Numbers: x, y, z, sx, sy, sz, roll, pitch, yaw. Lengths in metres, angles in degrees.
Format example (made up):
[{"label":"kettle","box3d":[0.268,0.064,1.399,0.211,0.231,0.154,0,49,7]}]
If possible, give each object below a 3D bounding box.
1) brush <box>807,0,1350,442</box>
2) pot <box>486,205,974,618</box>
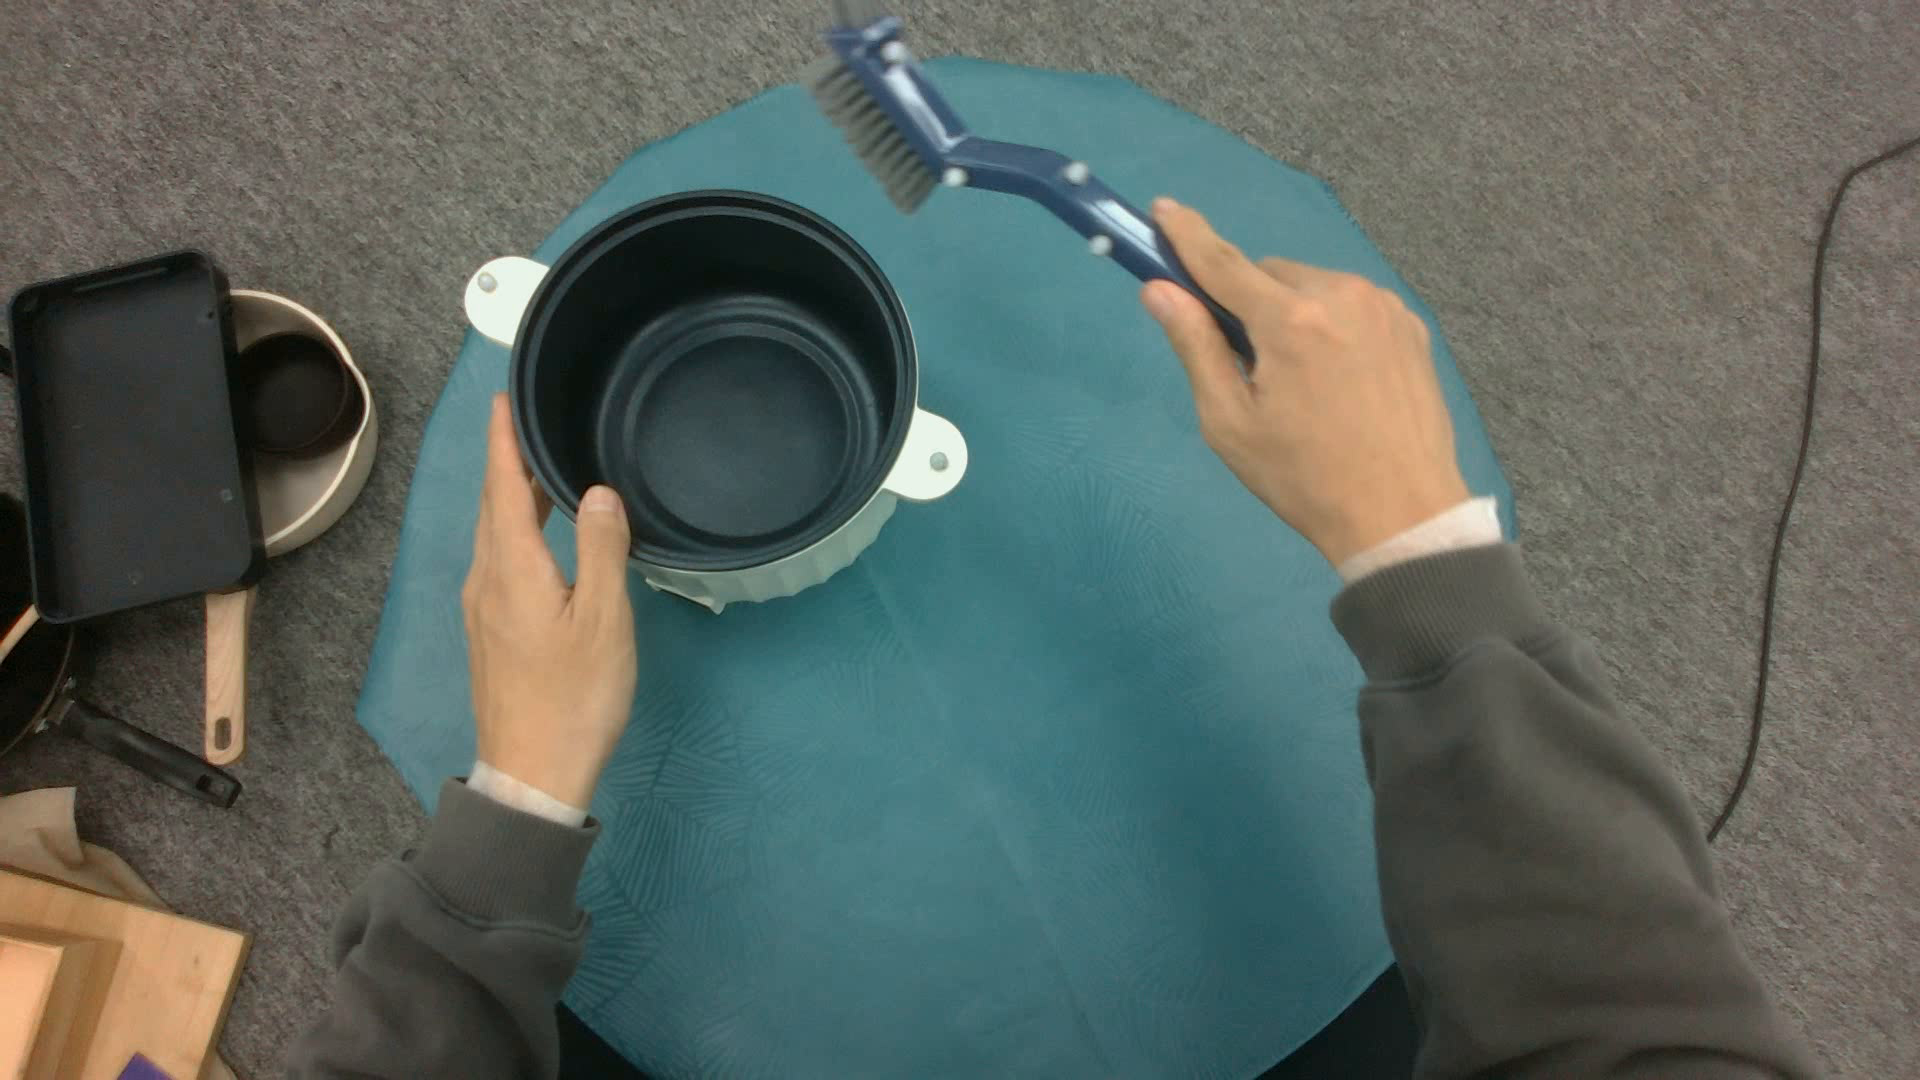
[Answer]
[{"label":"brush","box3d":[0.050,-0.136,0.565,0.273,0.095,0.034,31,43,9]},{"label":"pot","box3d":[-0.106,-0.062,0.697,0.240,0.142,0.191,20,80,3]}]
